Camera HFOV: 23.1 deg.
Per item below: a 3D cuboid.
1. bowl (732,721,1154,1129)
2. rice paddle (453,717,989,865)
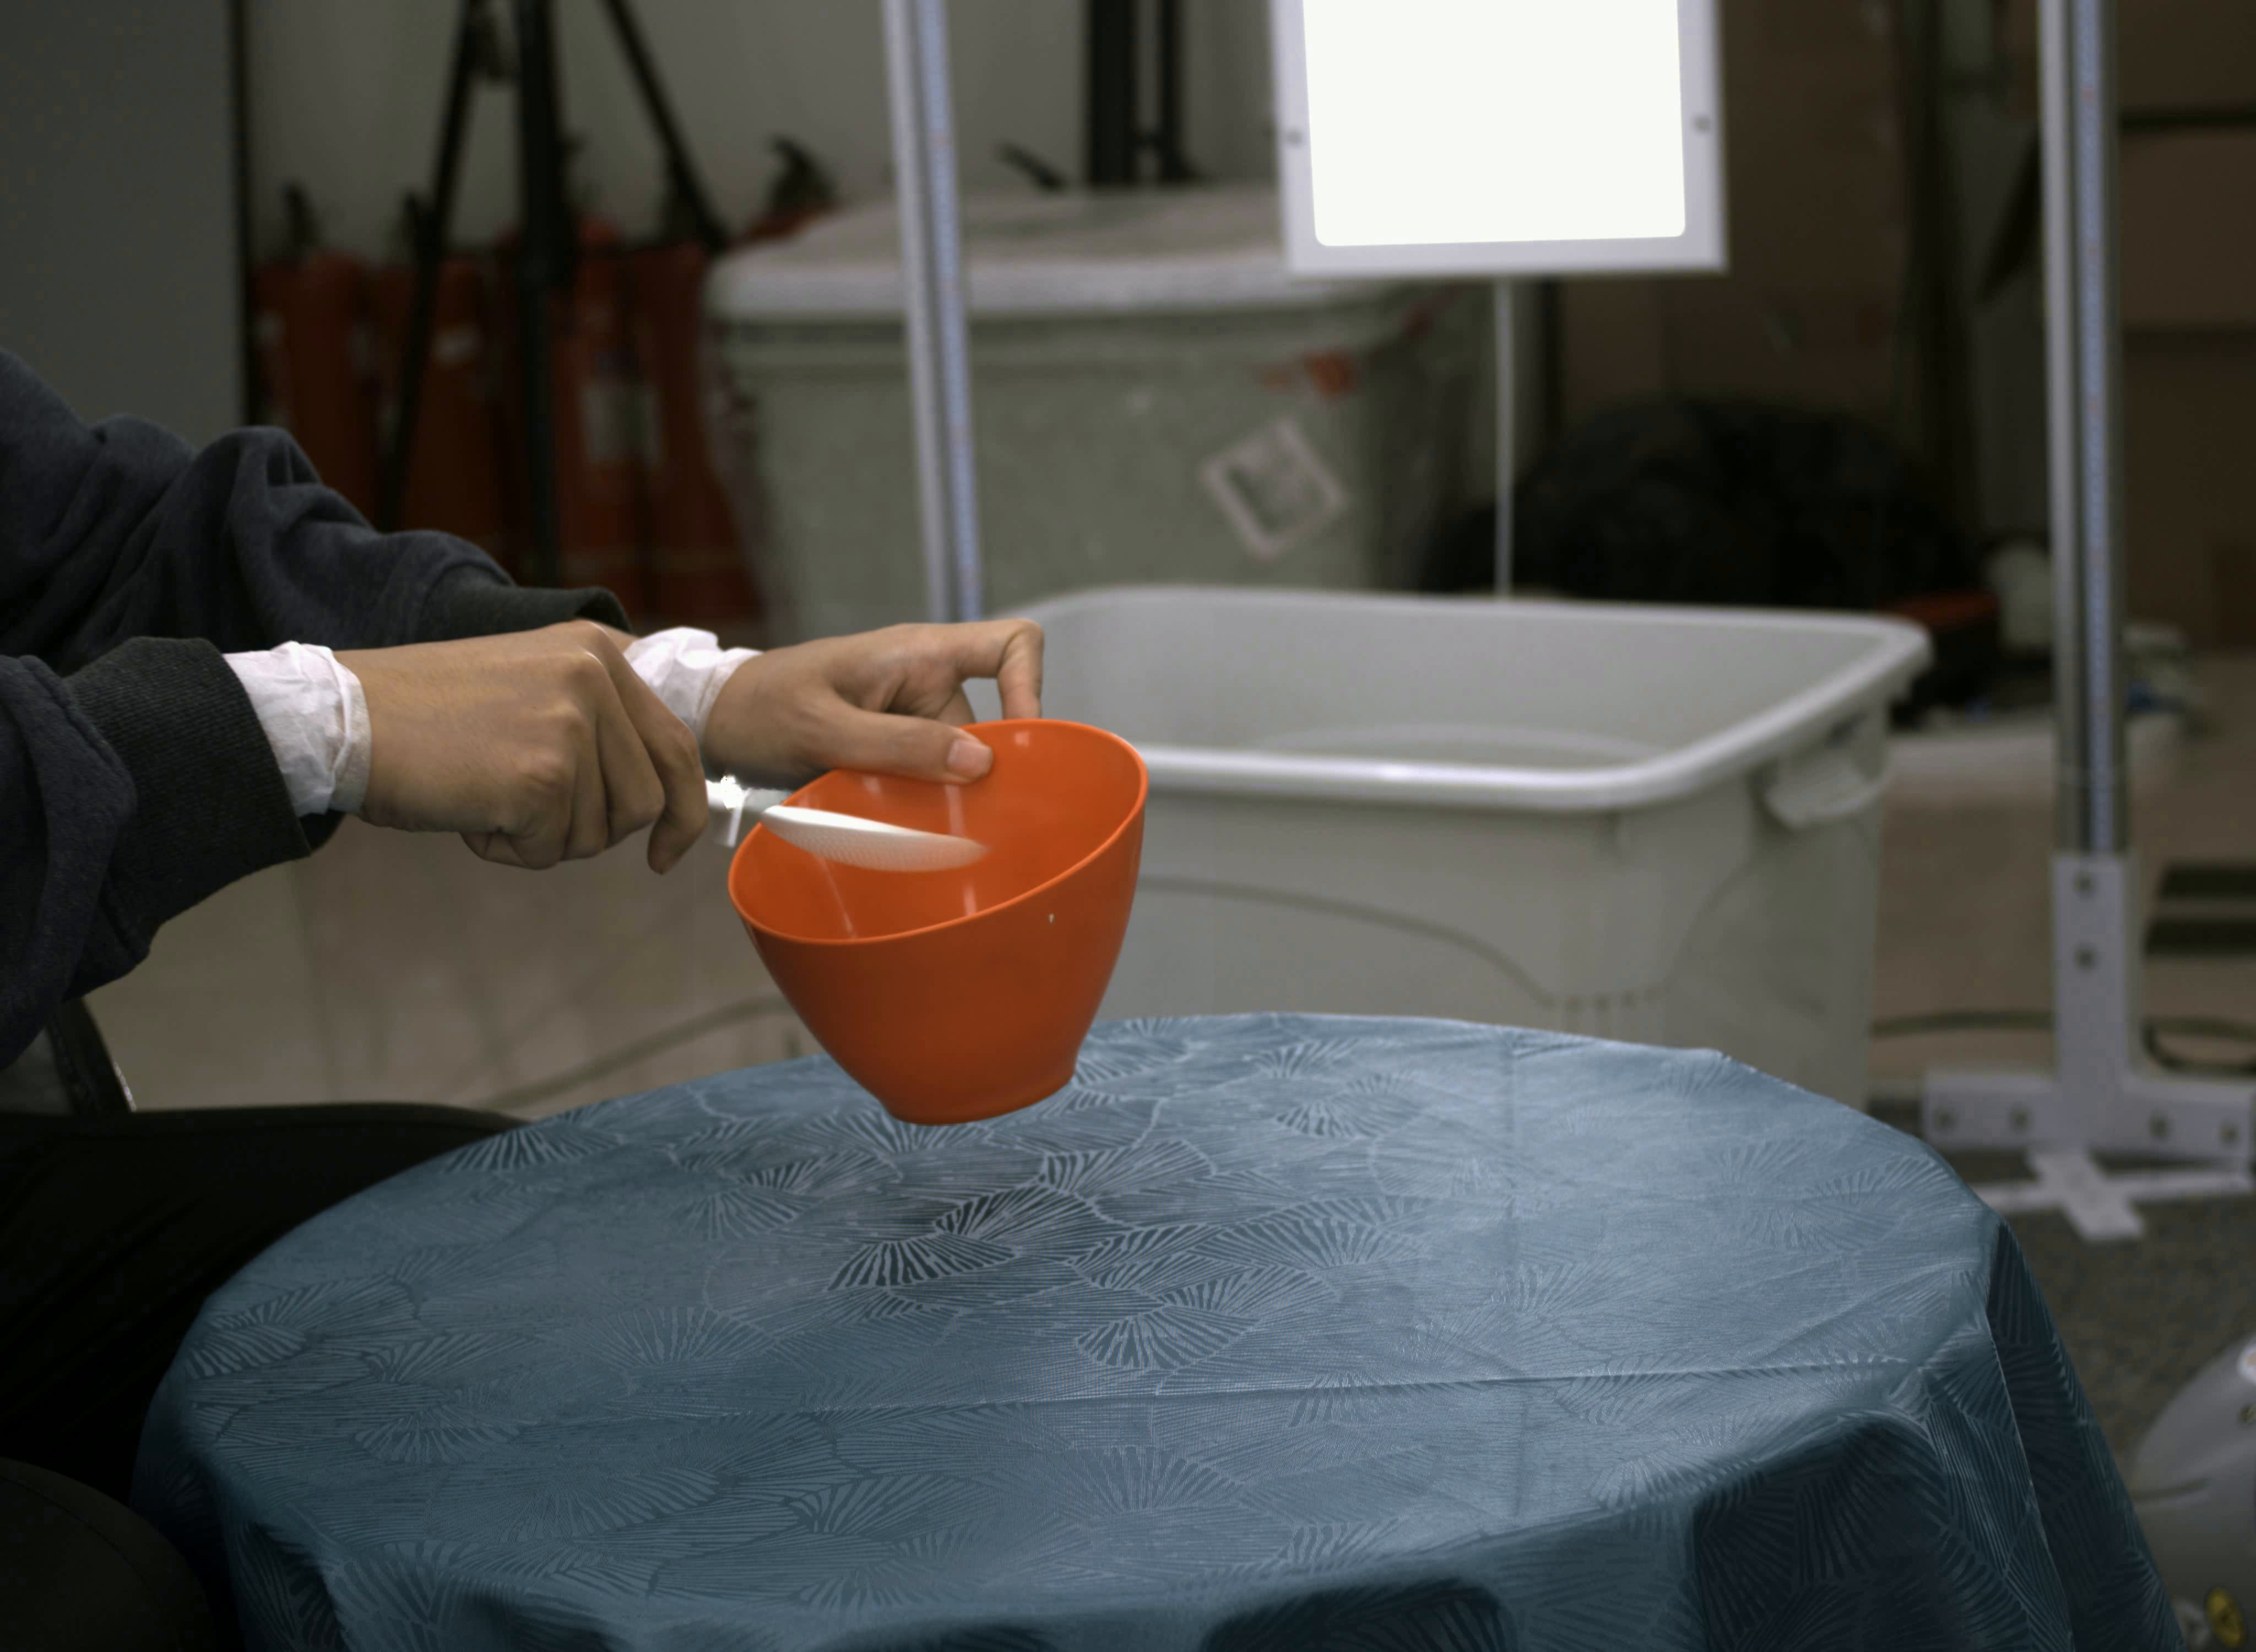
[{"bbox_3d":[-0.056,0.038,1.874,0.148,0.105,0.148,-11,18,2],"label":"bowl"},{"bbox_3d":[-0.130,-0.009,1.821,0.200,0.029,0.070,9,3,-38],"label":"rice paddle"}]
